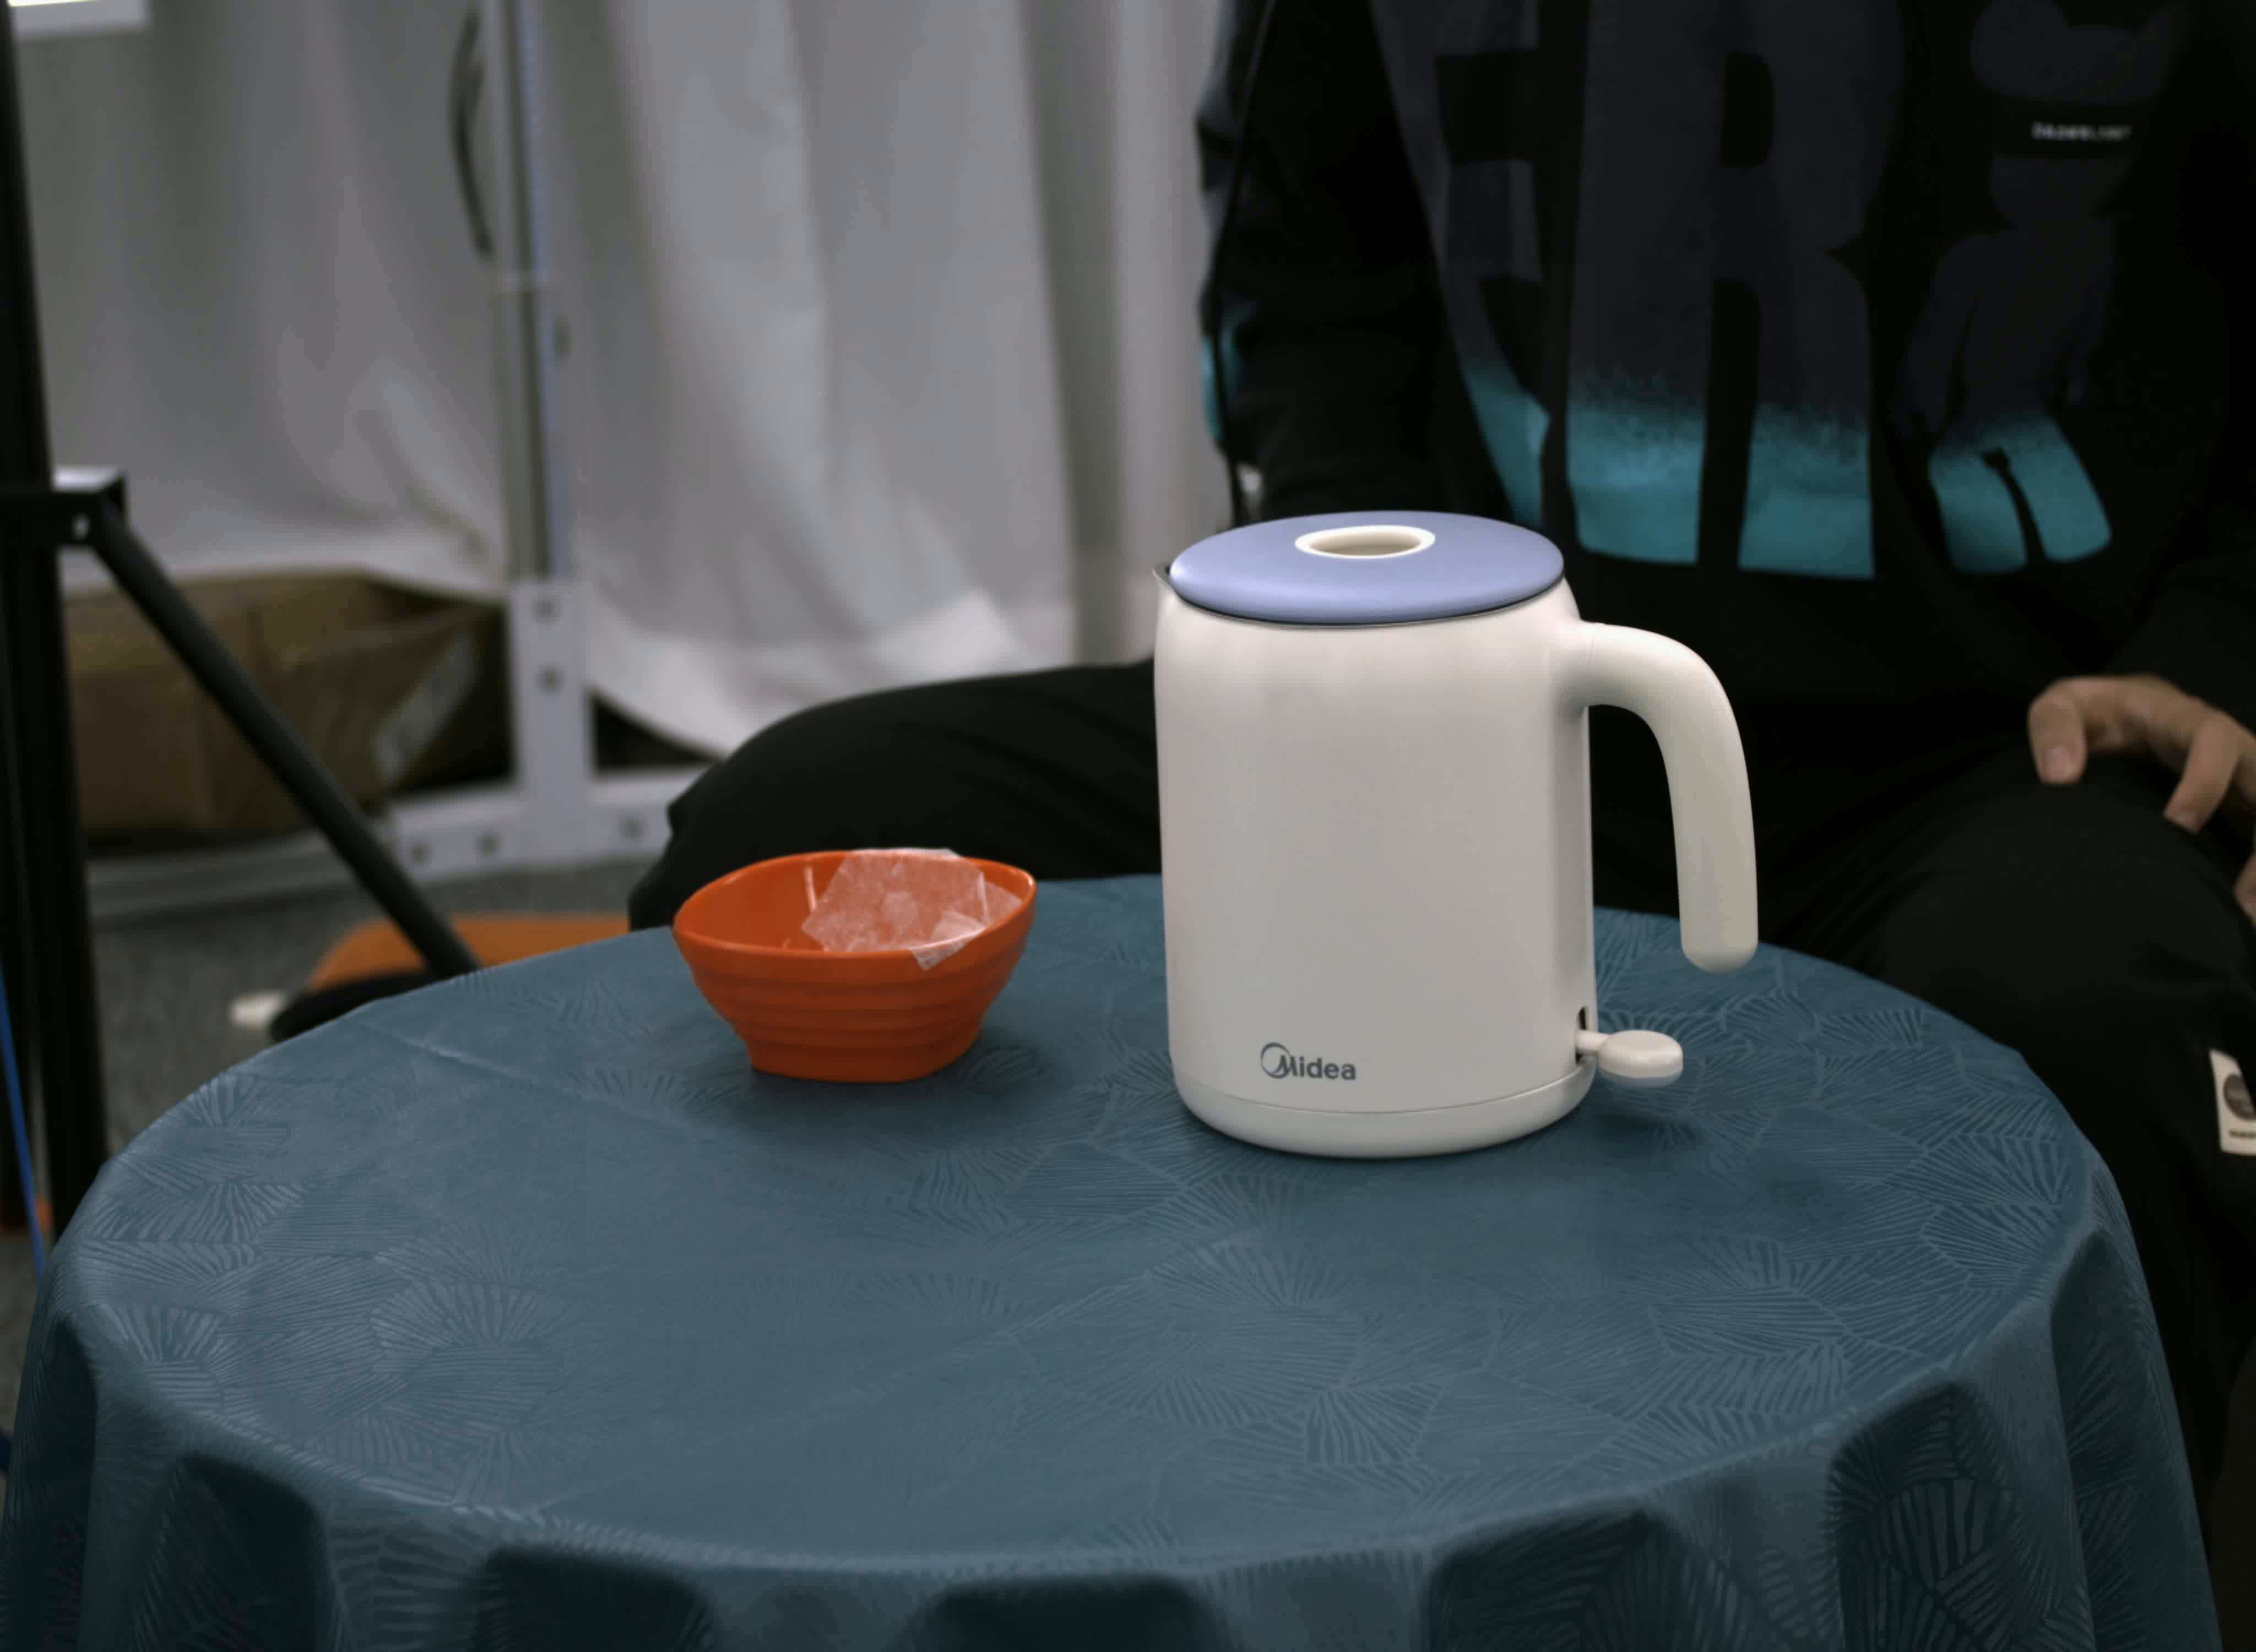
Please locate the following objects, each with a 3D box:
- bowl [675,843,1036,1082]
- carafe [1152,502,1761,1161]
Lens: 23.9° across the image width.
[{"bbox_3d":[-0.084,0.046,1.694,0.118,0.051,0.119,-5,17,0],"label":"bowl"},{"bbox_3d":[0.098,0.003,1.599,0.193,0.182,0.130,6,19,22],"label":"carafe"}]
